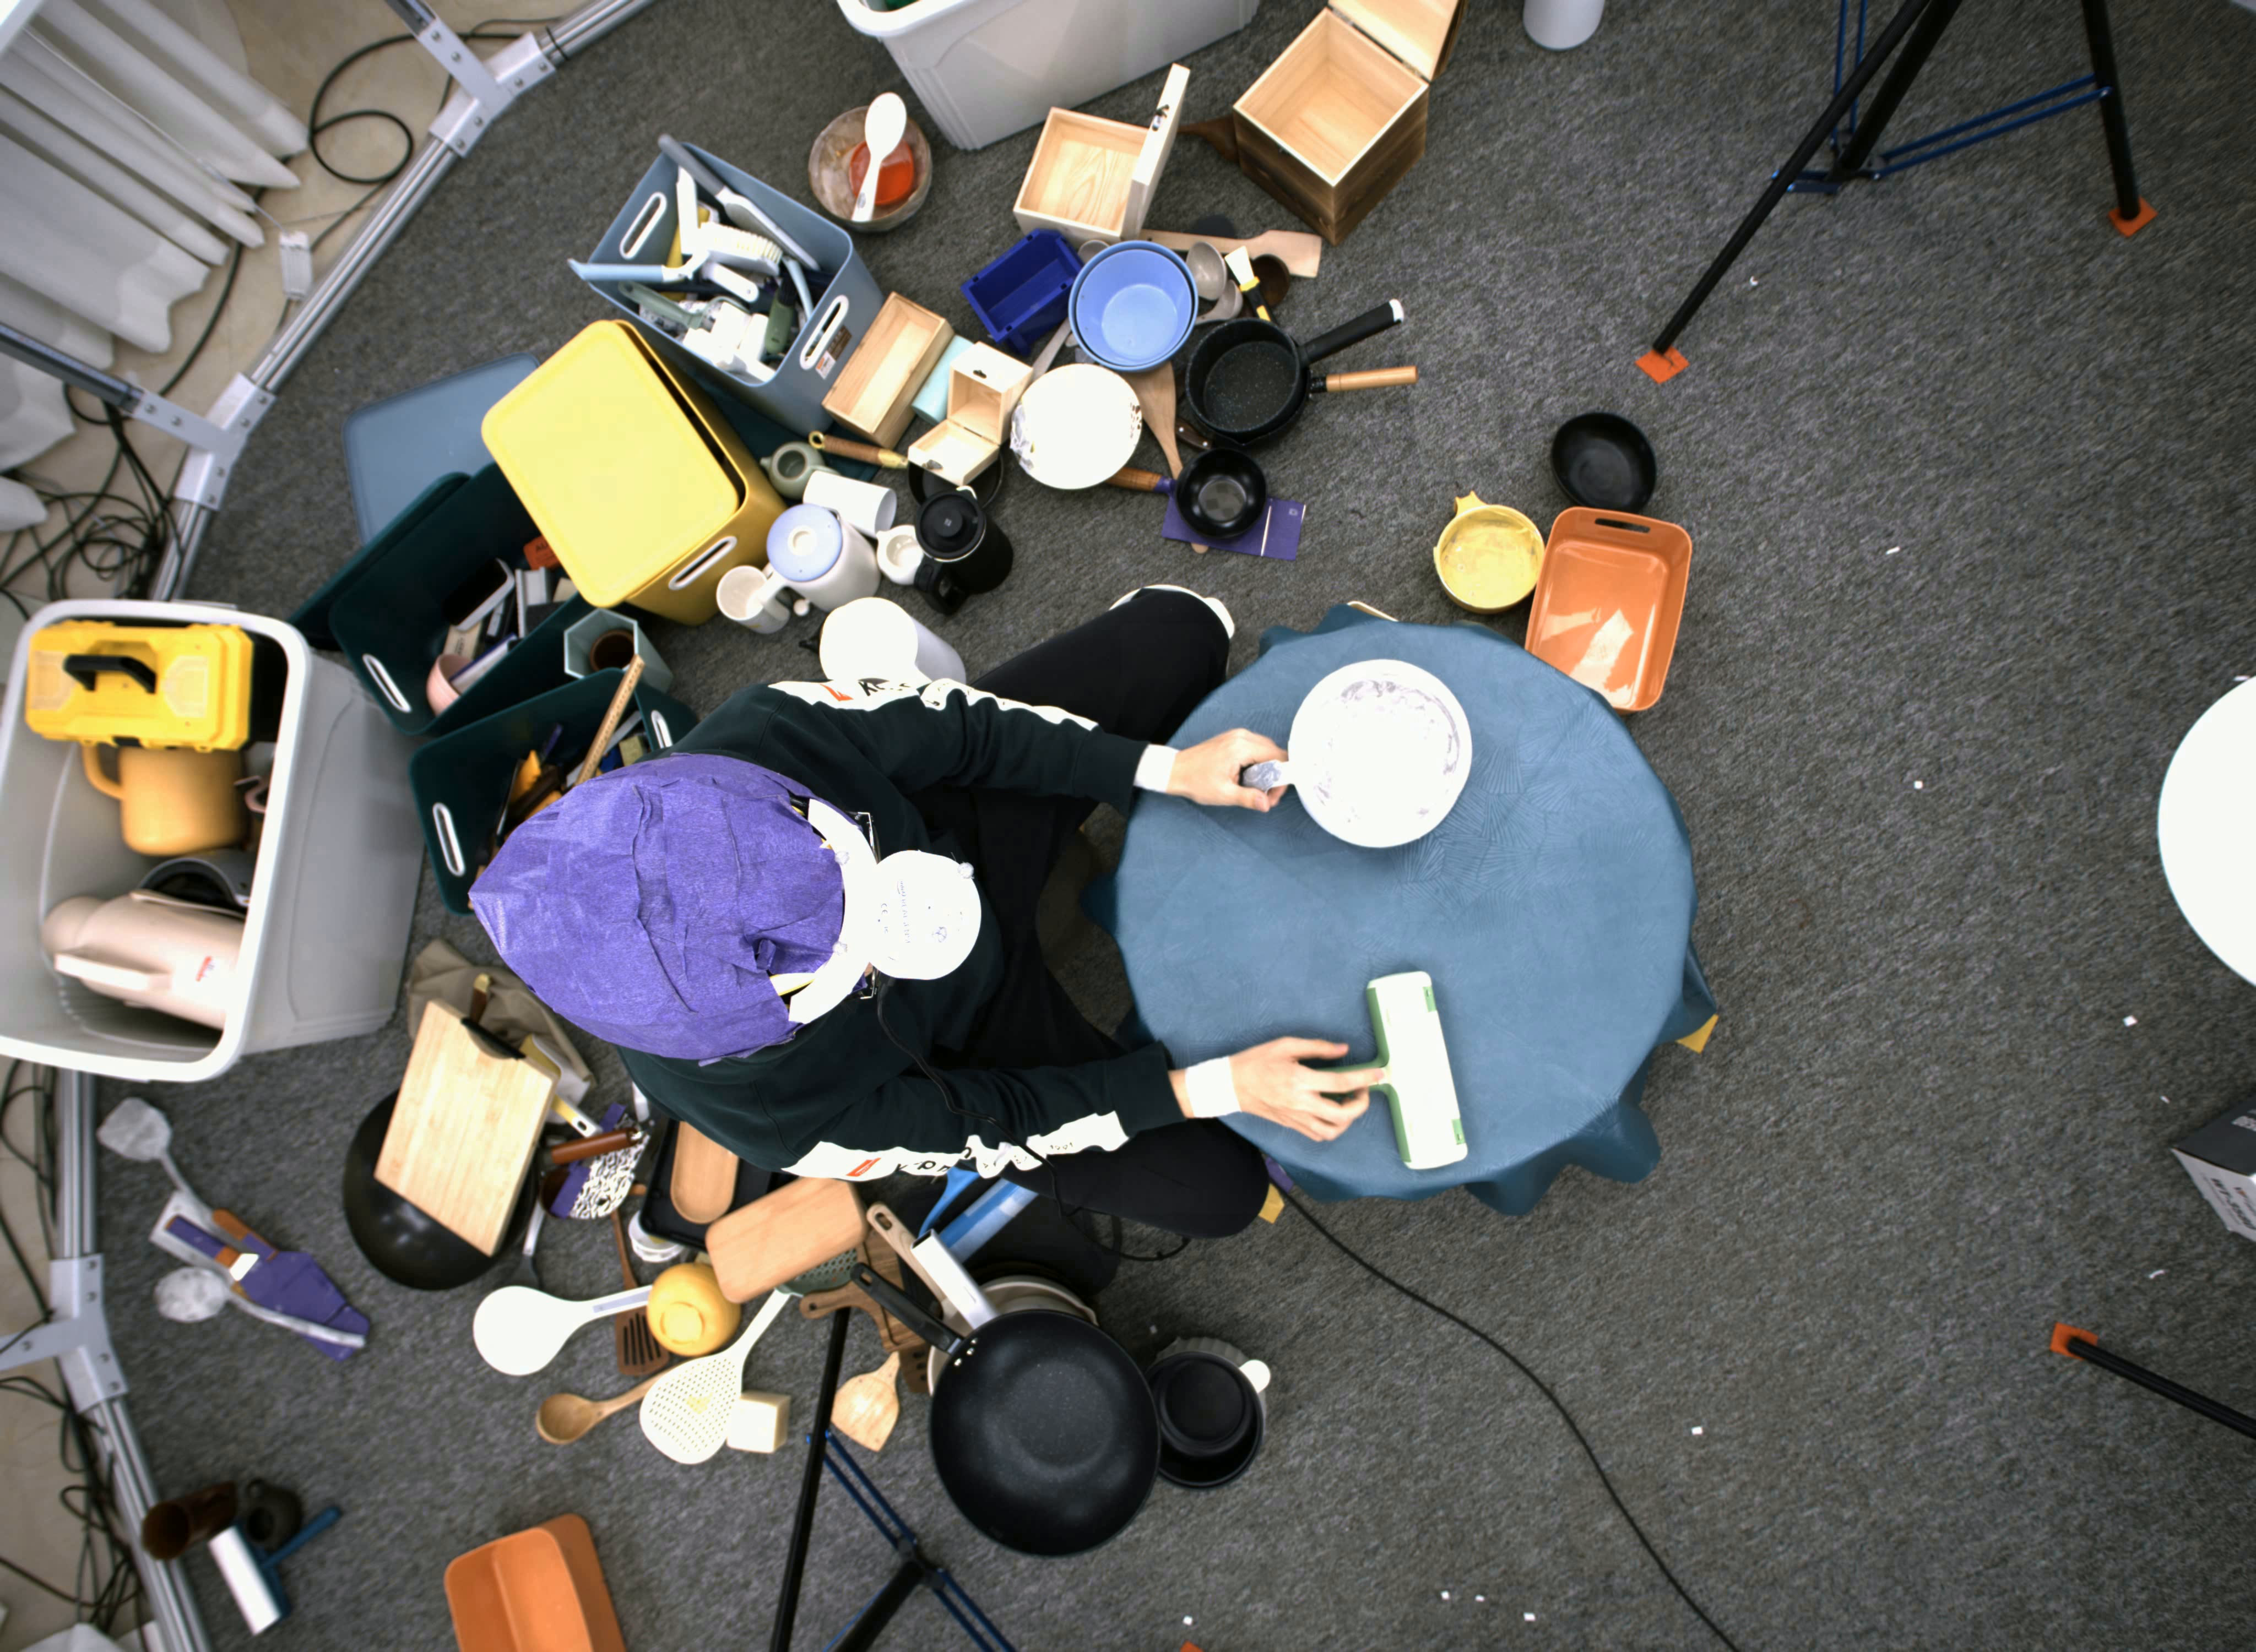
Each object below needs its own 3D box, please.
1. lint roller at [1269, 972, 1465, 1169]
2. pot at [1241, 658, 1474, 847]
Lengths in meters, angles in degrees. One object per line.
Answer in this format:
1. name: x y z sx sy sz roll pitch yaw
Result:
1. lint roller: 0.236 0.258 1.414 0.184 0.082 0.197 -11 85 4
2. pot: 0.228 -0.065 1.401 0.235 0.137 0.177 -12 84 9
